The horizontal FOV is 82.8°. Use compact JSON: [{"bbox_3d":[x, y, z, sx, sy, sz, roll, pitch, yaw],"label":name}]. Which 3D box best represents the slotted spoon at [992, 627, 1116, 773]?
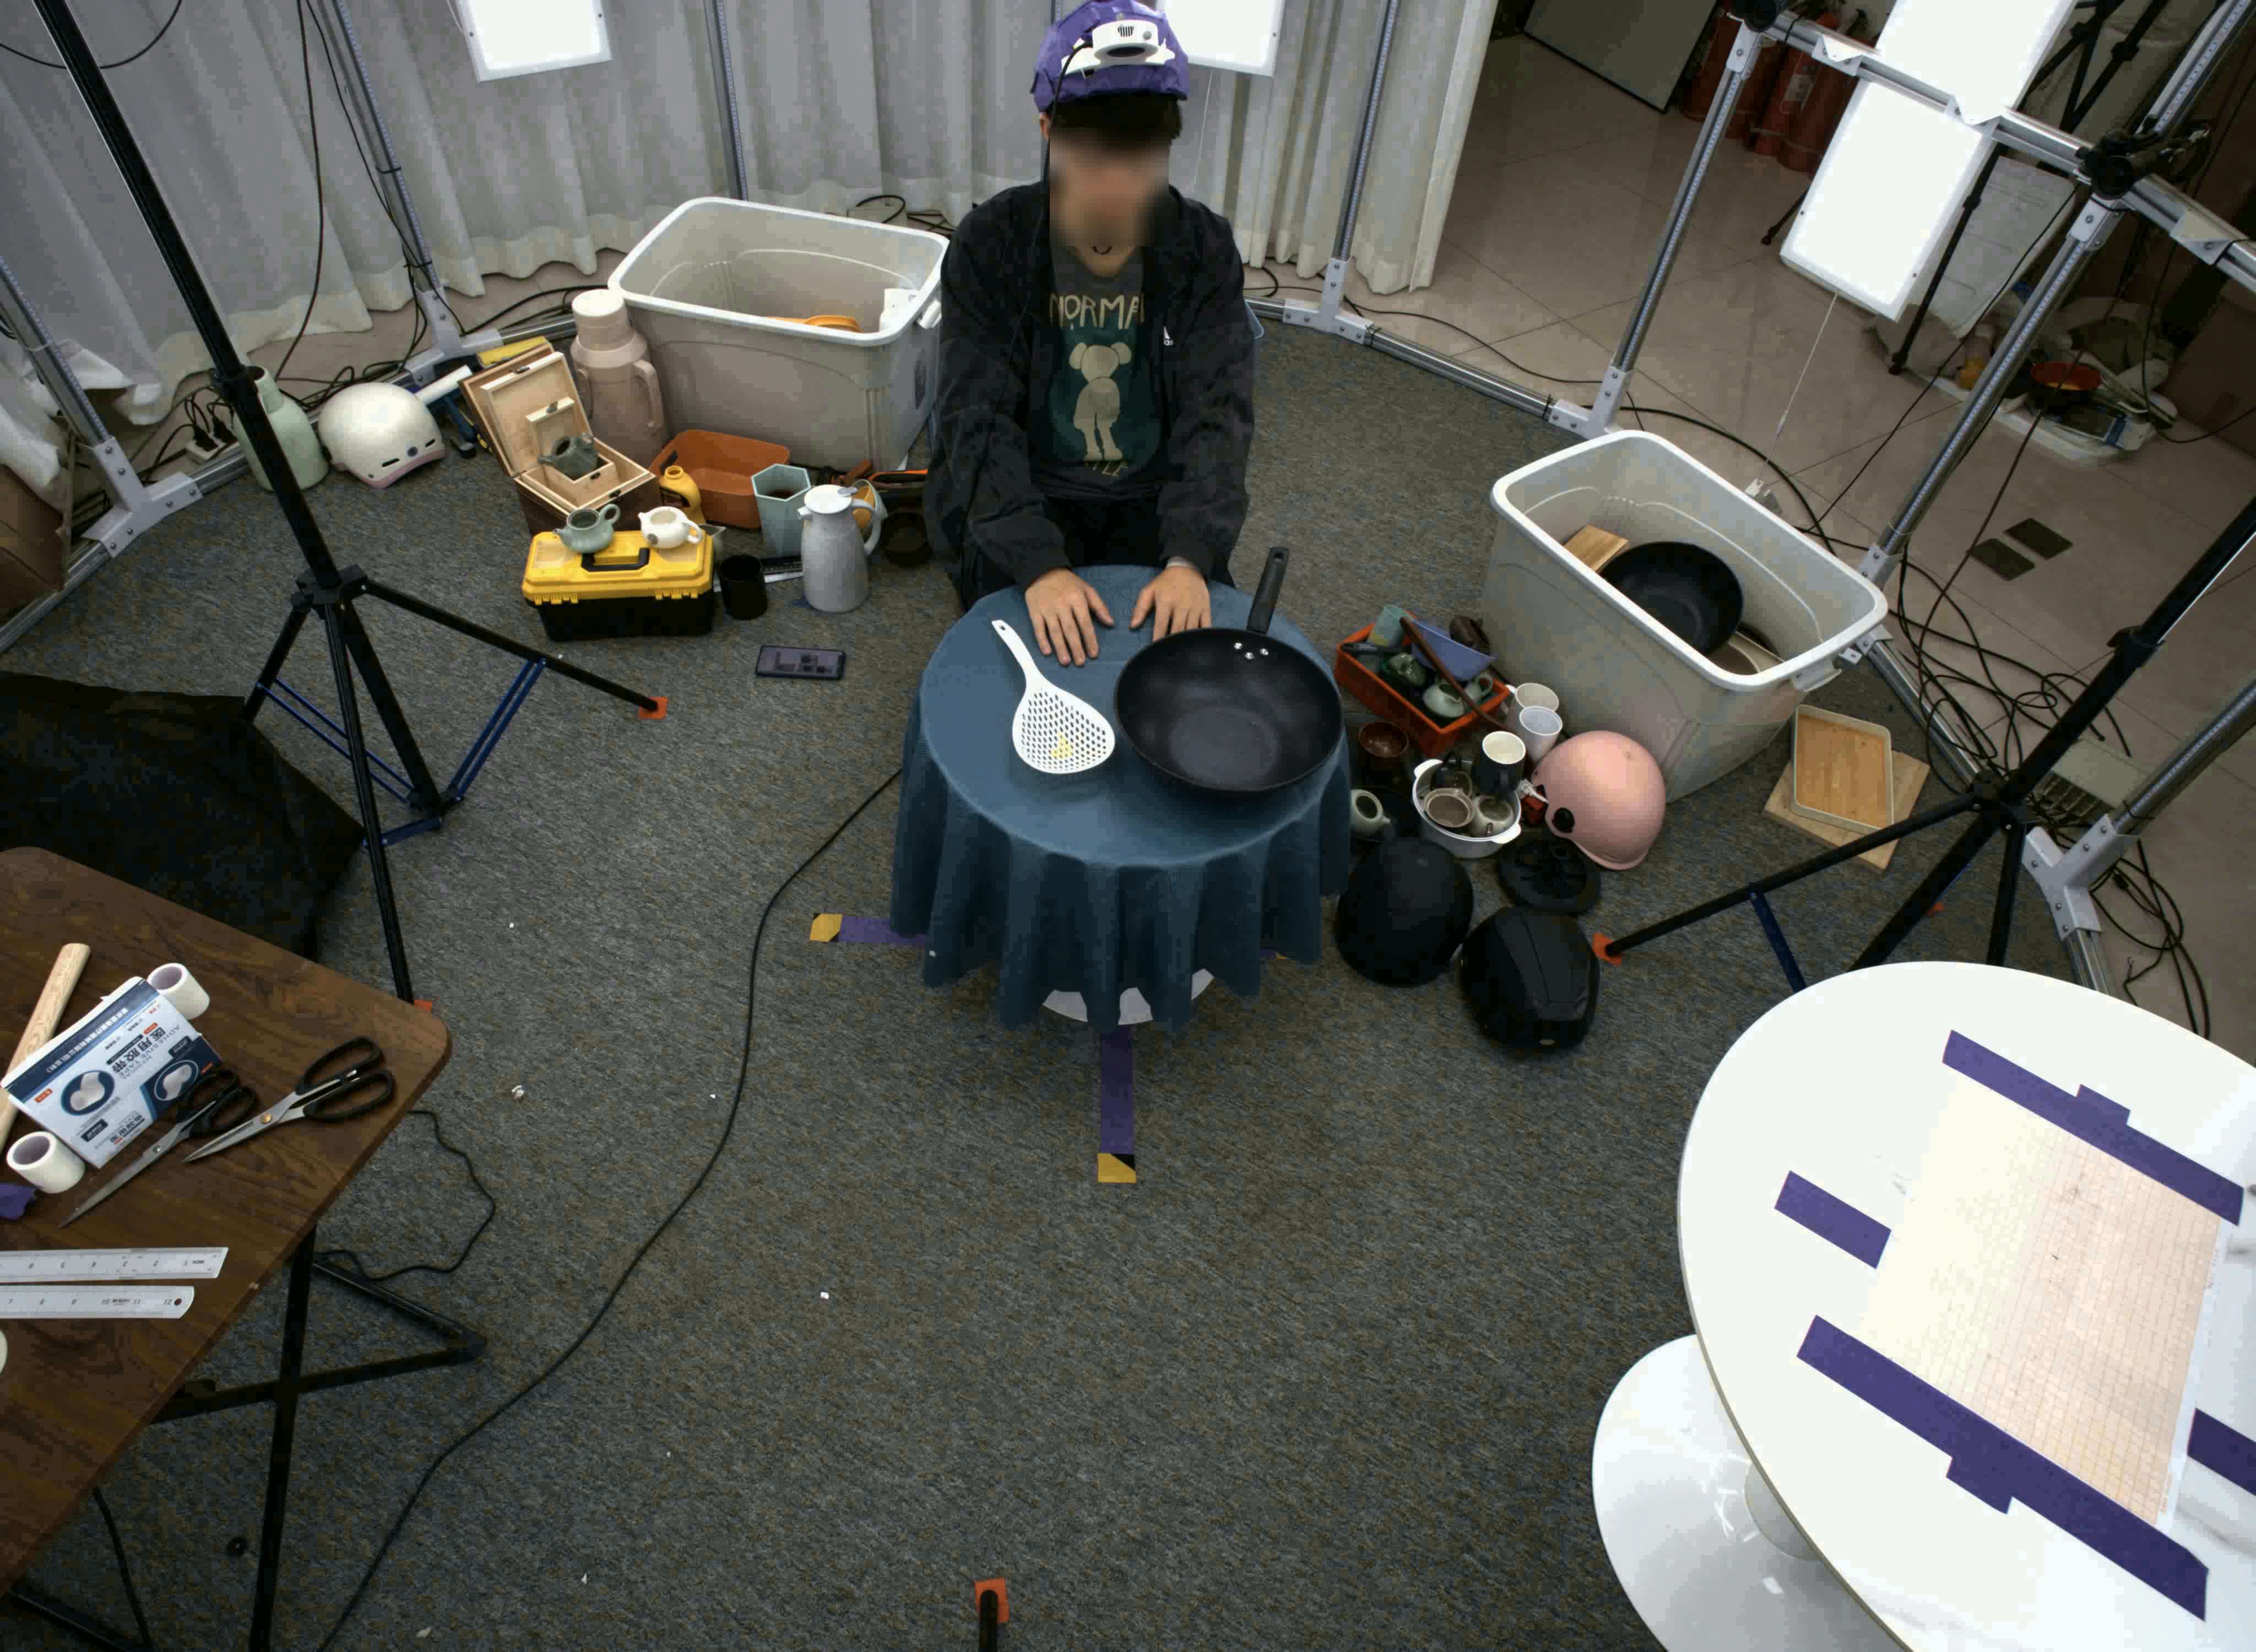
[{"bbox_3d":[-0.126,-0.188,1.796,0.137,0.049,0.356,-15,51,-14],"label":"slotted spoon"}]

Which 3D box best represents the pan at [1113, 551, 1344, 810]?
[{"bbox_3d":[0.156,-0.197,1.780,0.311,0.109,0.487,15,50,8],"label":"pan"}]
